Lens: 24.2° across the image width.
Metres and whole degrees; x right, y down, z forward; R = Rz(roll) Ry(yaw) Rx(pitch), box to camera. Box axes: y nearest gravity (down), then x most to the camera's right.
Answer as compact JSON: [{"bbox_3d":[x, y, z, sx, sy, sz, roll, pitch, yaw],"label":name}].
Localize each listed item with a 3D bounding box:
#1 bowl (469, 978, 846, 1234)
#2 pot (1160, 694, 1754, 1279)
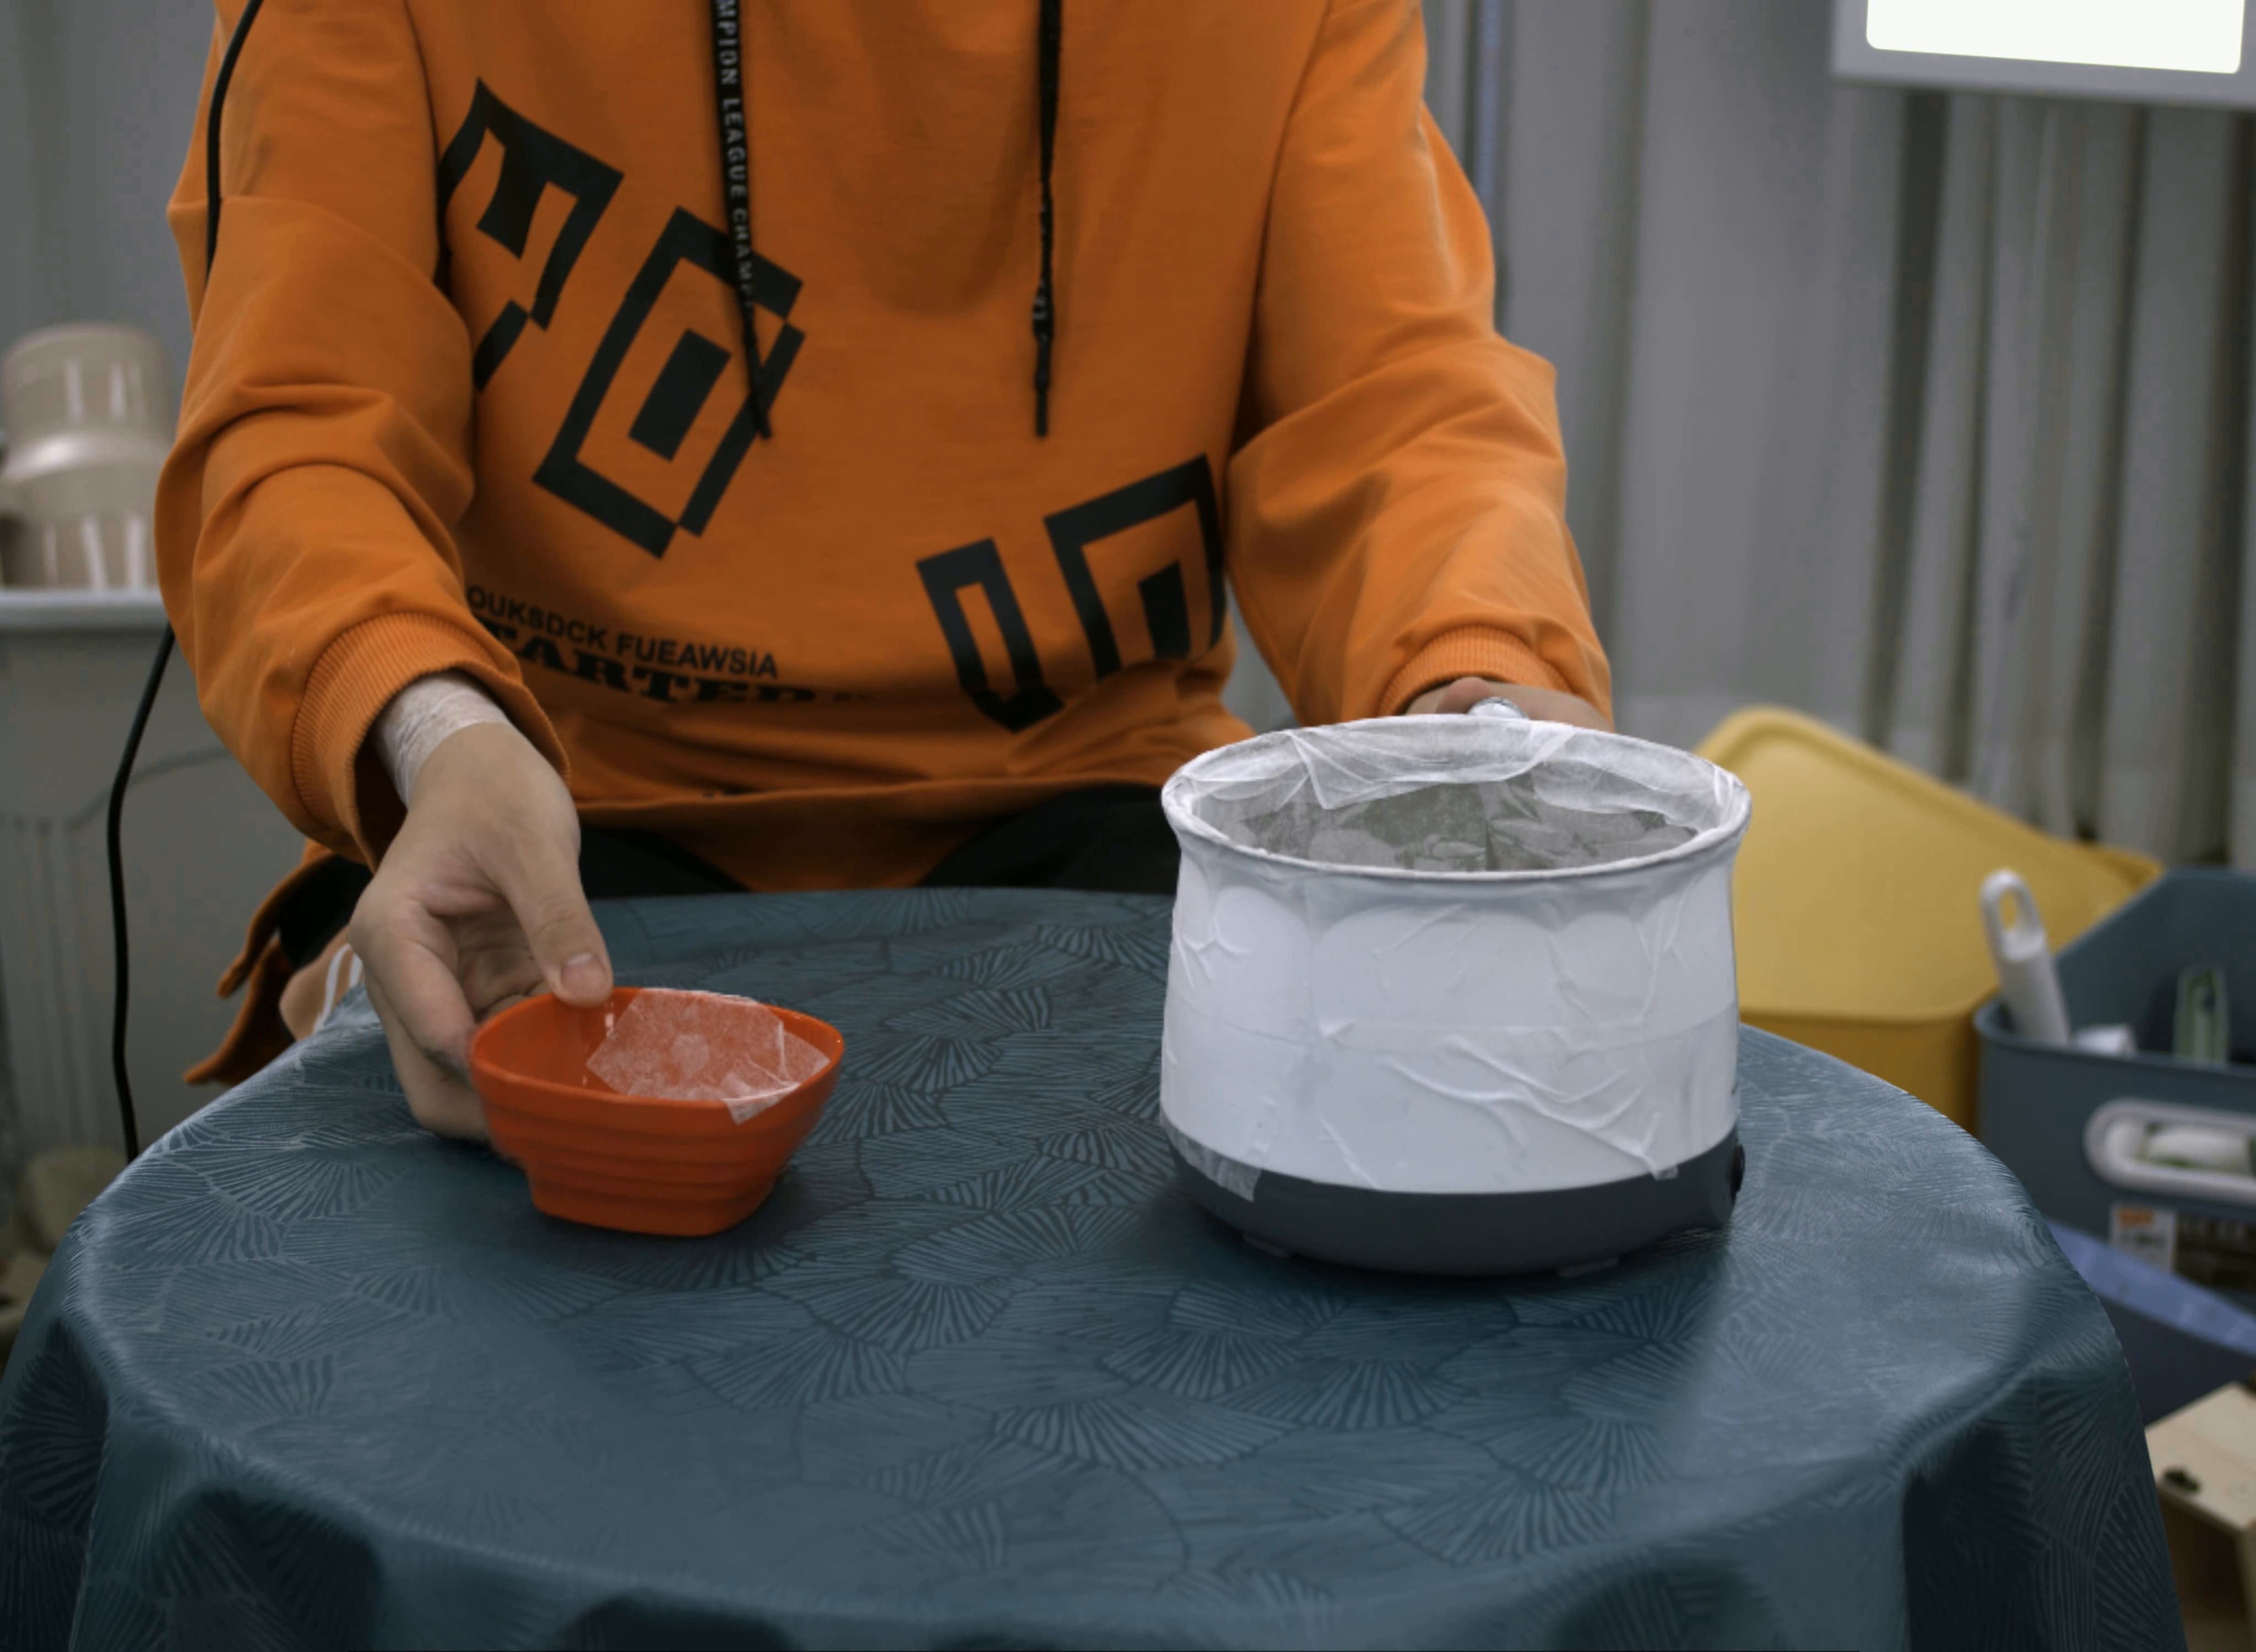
[{"bbox_3d":[-0.143,0.087,1.601,0.118,0.052,0.118,4,16,-1],"label":"bowl"},{"bbox_3d":[0.102,0.043,1.616,0.177,0.138,0.233,3,16,8],"label":"pot"}]
